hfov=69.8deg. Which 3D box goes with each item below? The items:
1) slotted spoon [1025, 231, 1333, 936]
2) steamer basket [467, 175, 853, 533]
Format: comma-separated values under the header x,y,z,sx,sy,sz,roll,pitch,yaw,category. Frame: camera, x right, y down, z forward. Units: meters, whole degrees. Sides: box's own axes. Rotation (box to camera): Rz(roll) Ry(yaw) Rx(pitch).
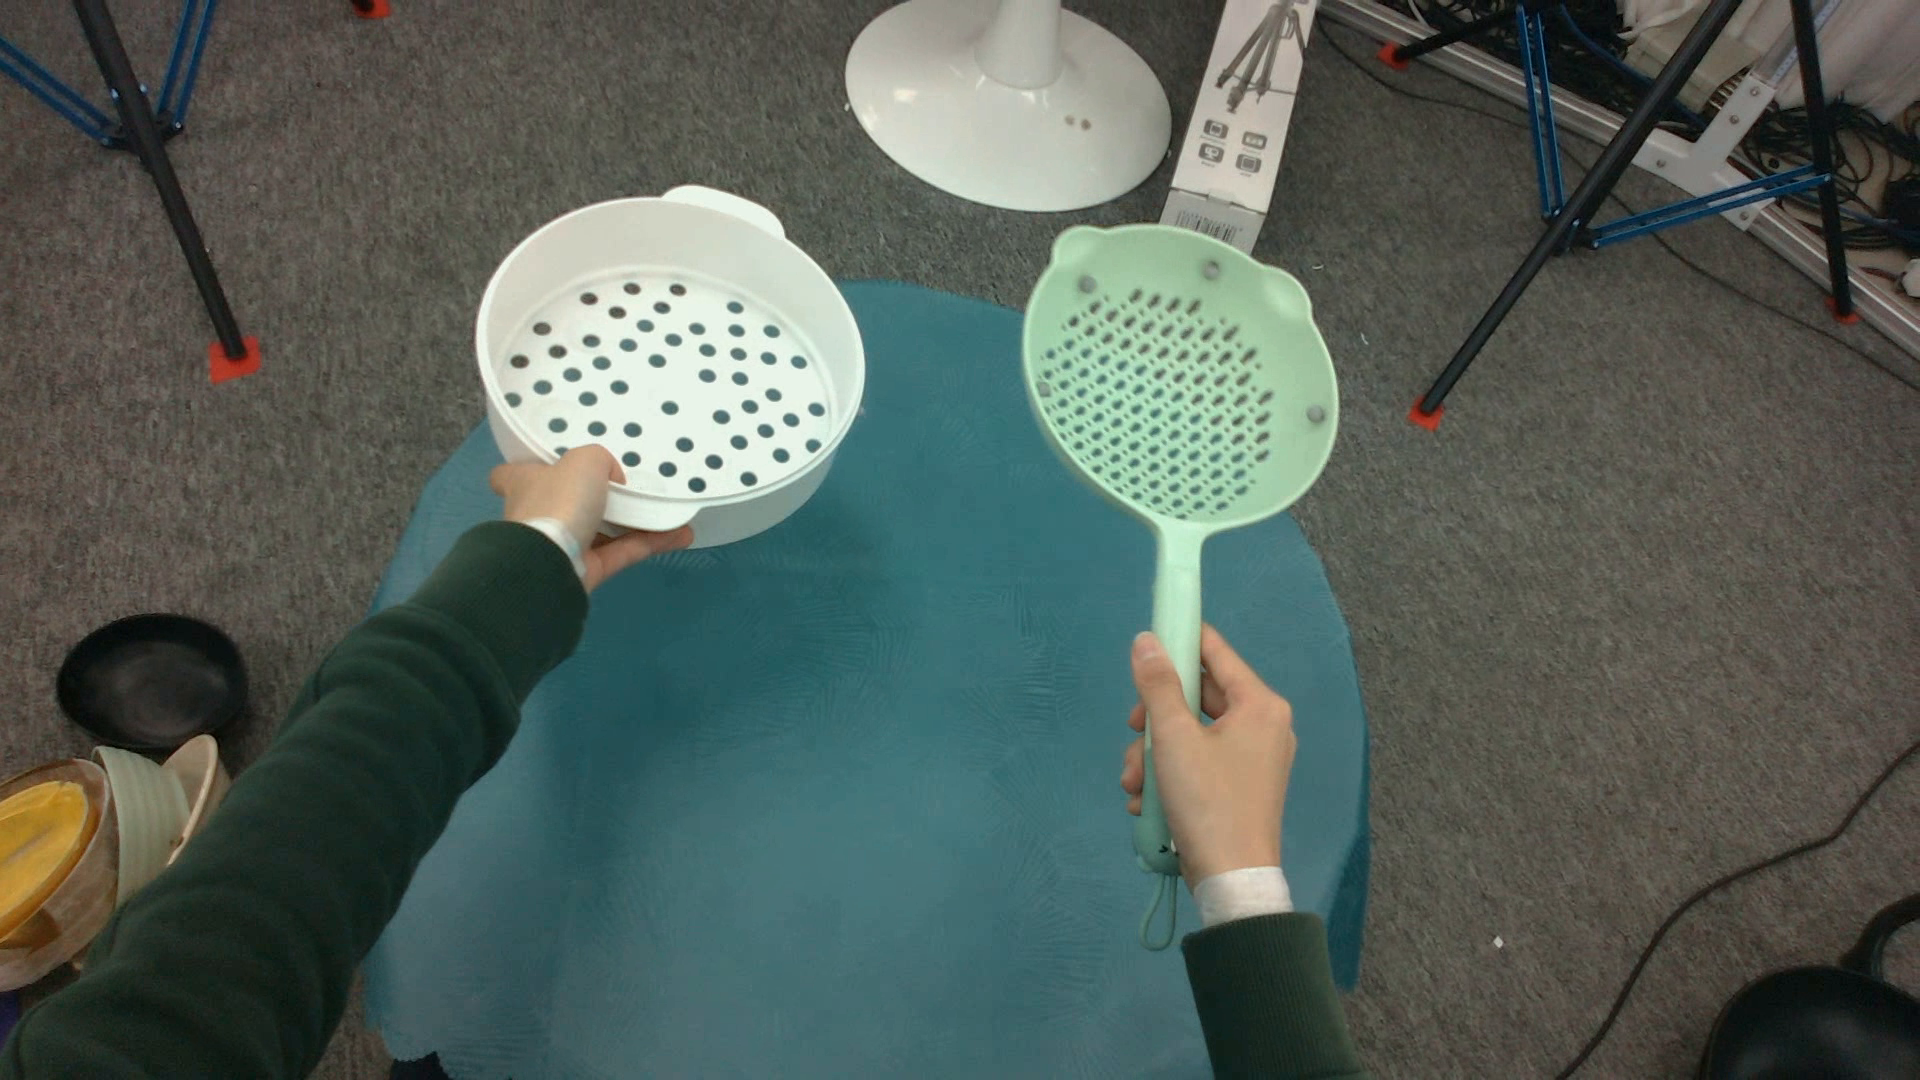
x,y,z,sx,sy,sz,roll,pitch,yaw,category
0.102,0.005,0.671,0.169,0.075,0.360,12,55,-11,slotted spoon
-0.164,-0.098,0.759,0.202,0.069,0.231,14,57,-8,steamer basket
